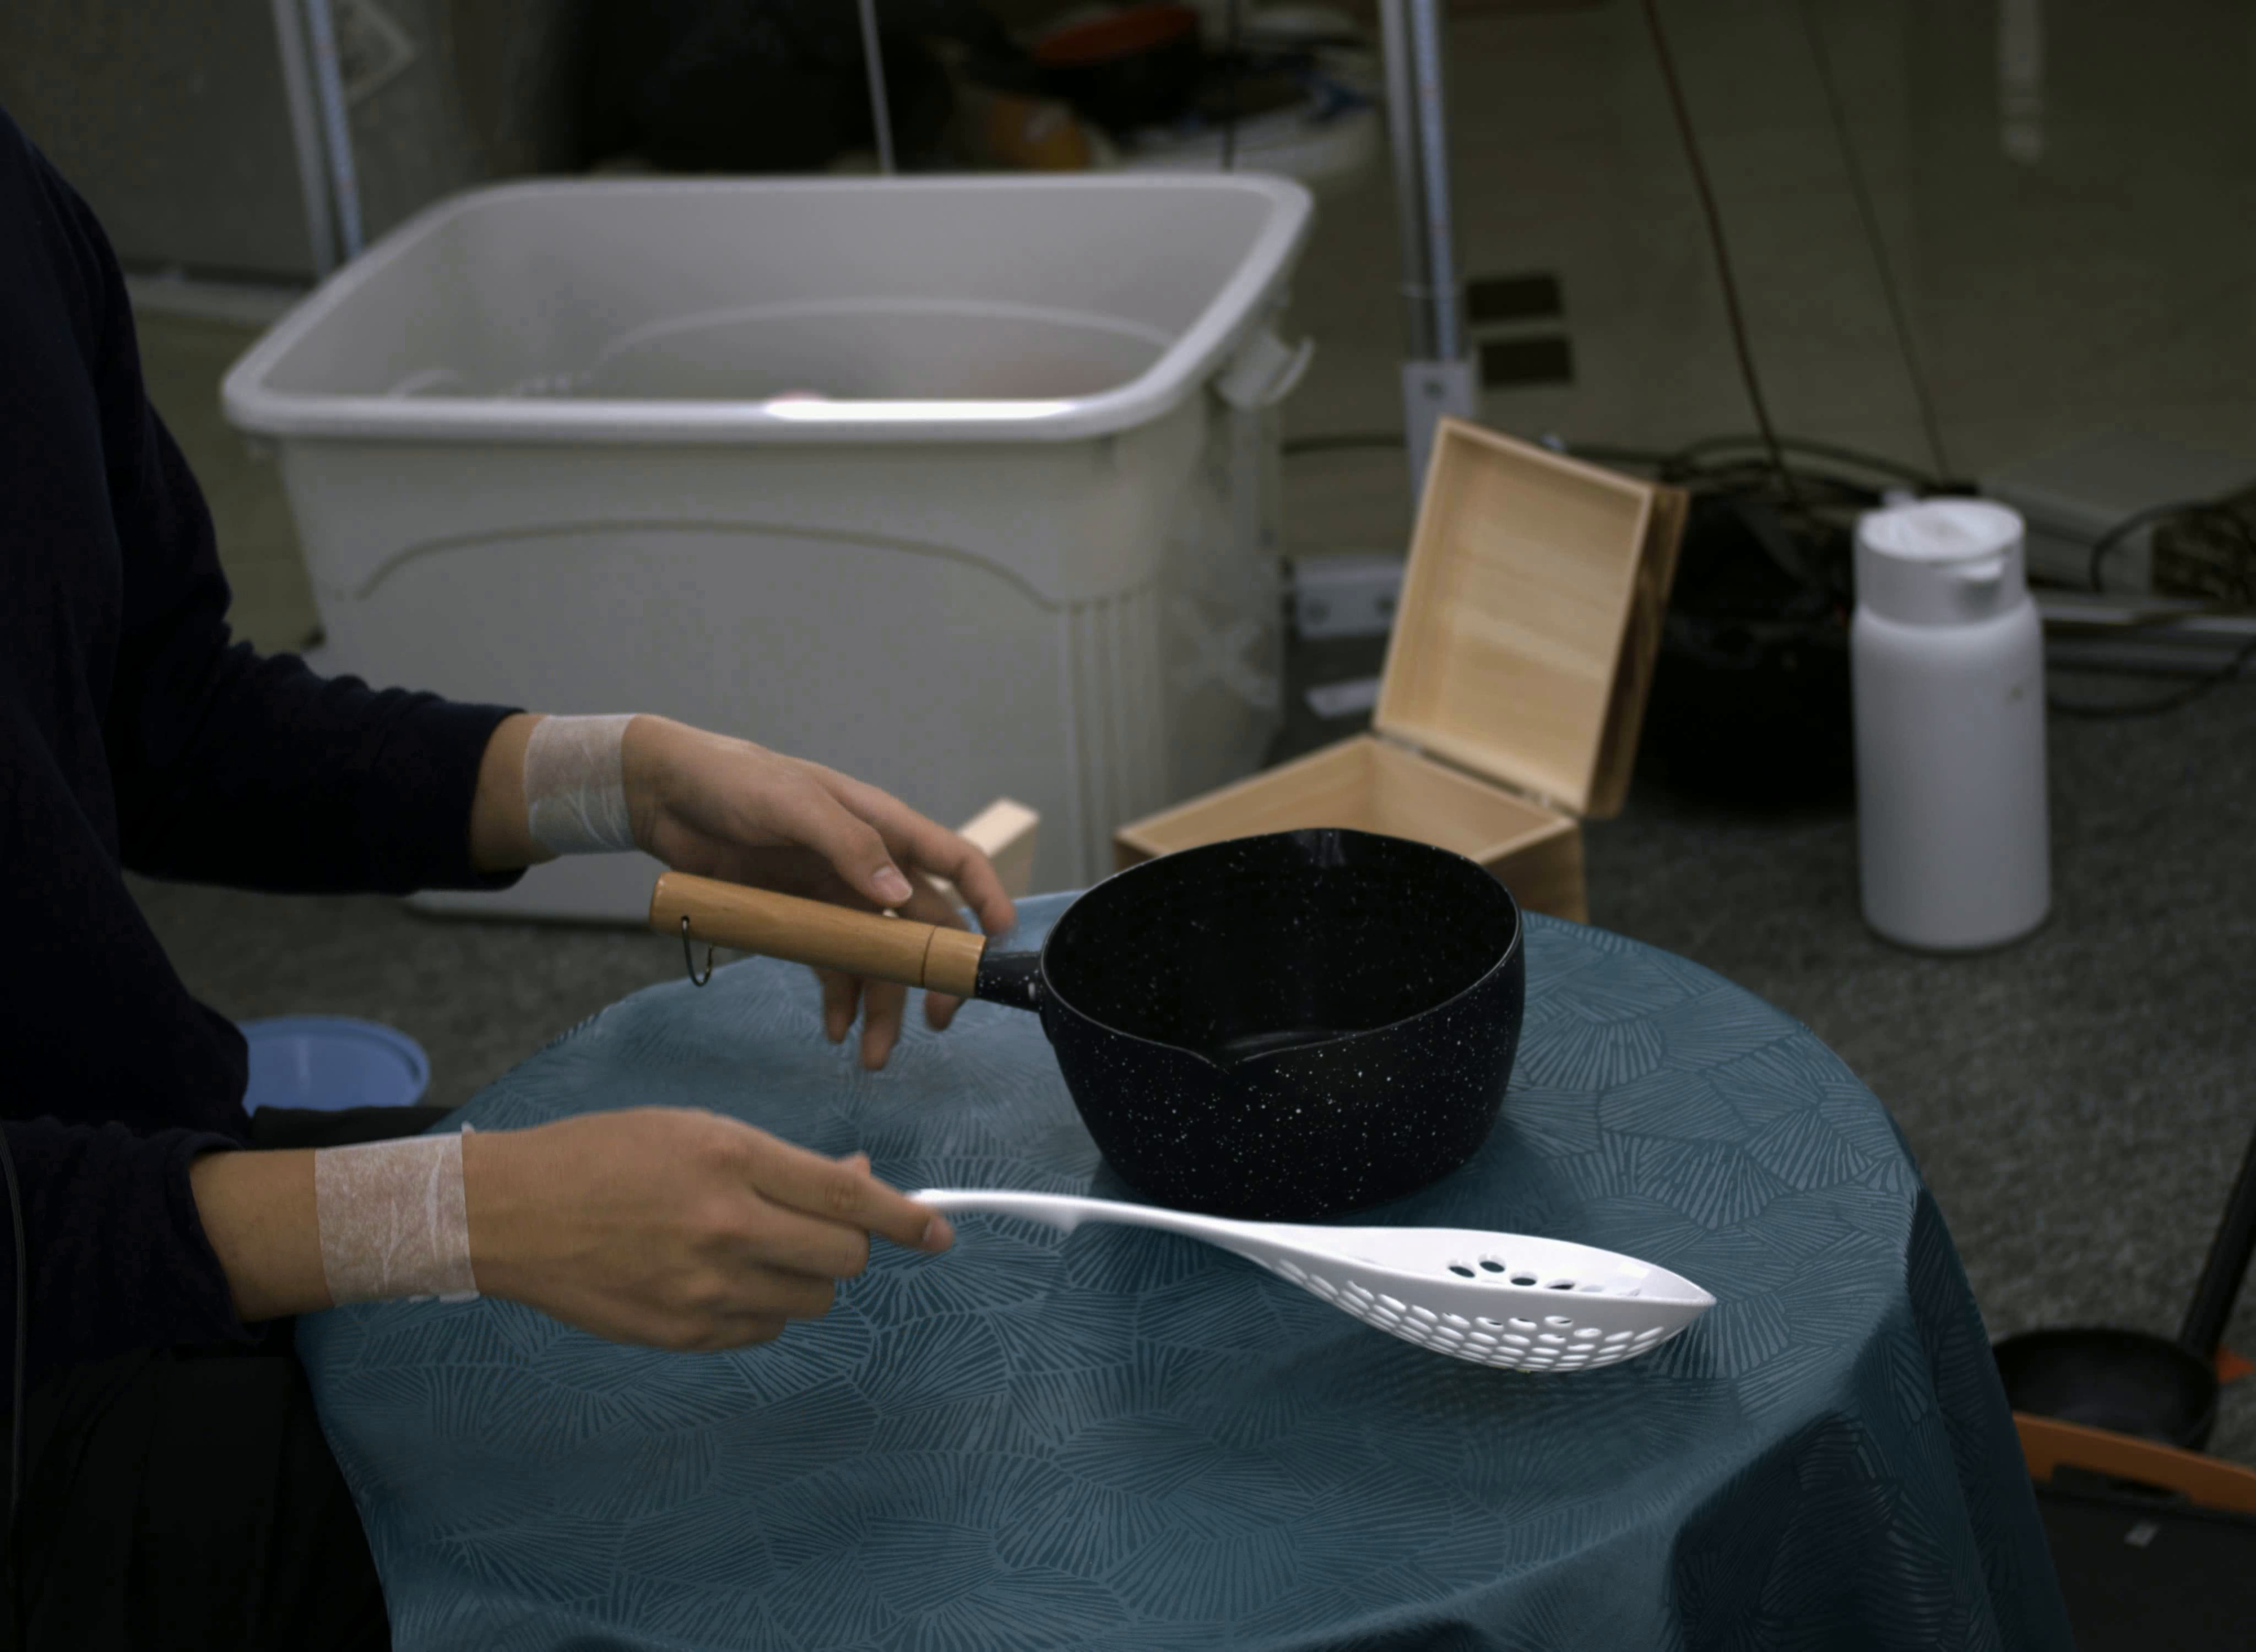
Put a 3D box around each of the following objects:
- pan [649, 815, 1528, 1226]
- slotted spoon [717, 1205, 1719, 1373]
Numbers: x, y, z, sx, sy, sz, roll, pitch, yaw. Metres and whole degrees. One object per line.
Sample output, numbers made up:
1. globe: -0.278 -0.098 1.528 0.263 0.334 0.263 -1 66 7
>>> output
1. pan: -0.017 0.069 2.172 0.342 0.110 0.204 1 27 12
2. slotted spoon: 0.032 0.151 1.967 0.348 0.050 0.136 10 3 -10
